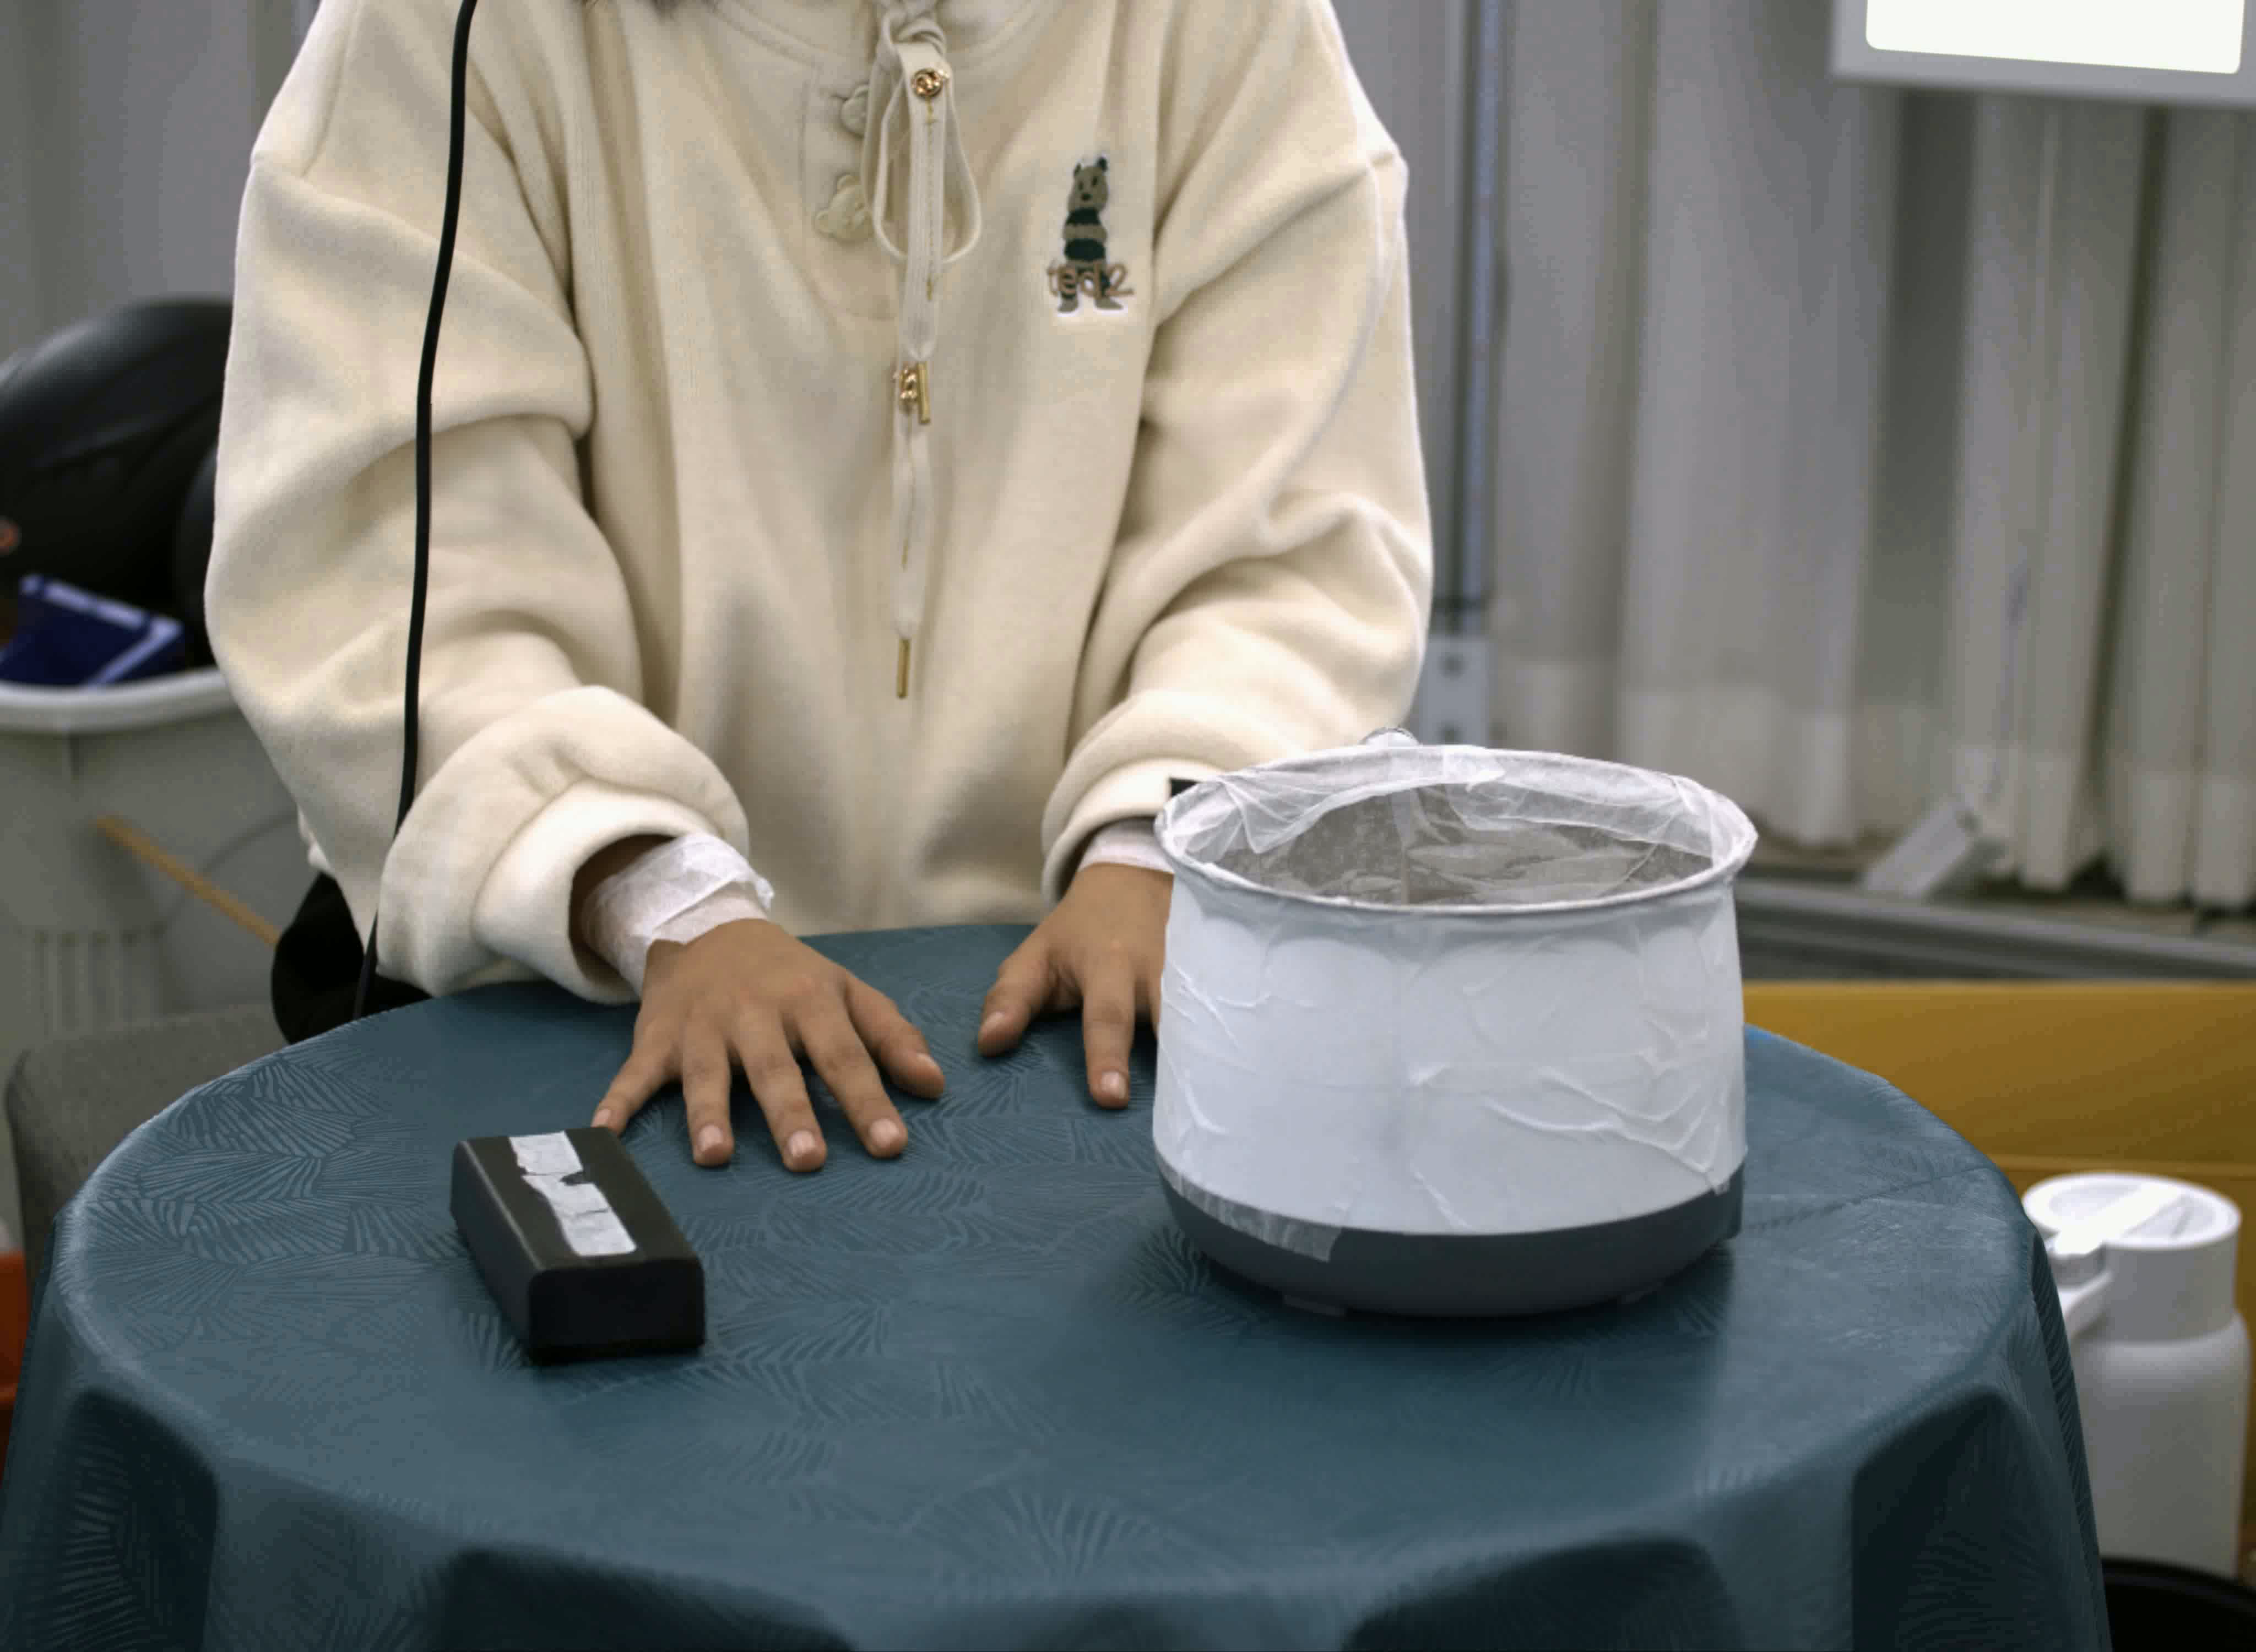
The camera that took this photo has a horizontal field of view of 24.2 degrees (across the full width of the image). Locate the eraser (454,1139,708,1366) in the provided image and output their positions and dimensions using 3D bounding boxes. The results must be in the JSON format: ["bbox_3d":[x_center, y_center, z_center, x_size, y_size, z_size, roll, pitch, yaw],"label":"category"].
[{"bbox_3d":[-0.160,0.123,1.529,0.053,0.031,0.124,-4,15,-16],"label":"eraser"}]

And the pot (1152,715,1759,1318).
[{"bbox_3d":[0.091,0.051,1.580,0.179,0.138,0.231,-2,17,-9],"label":"pot"}]
